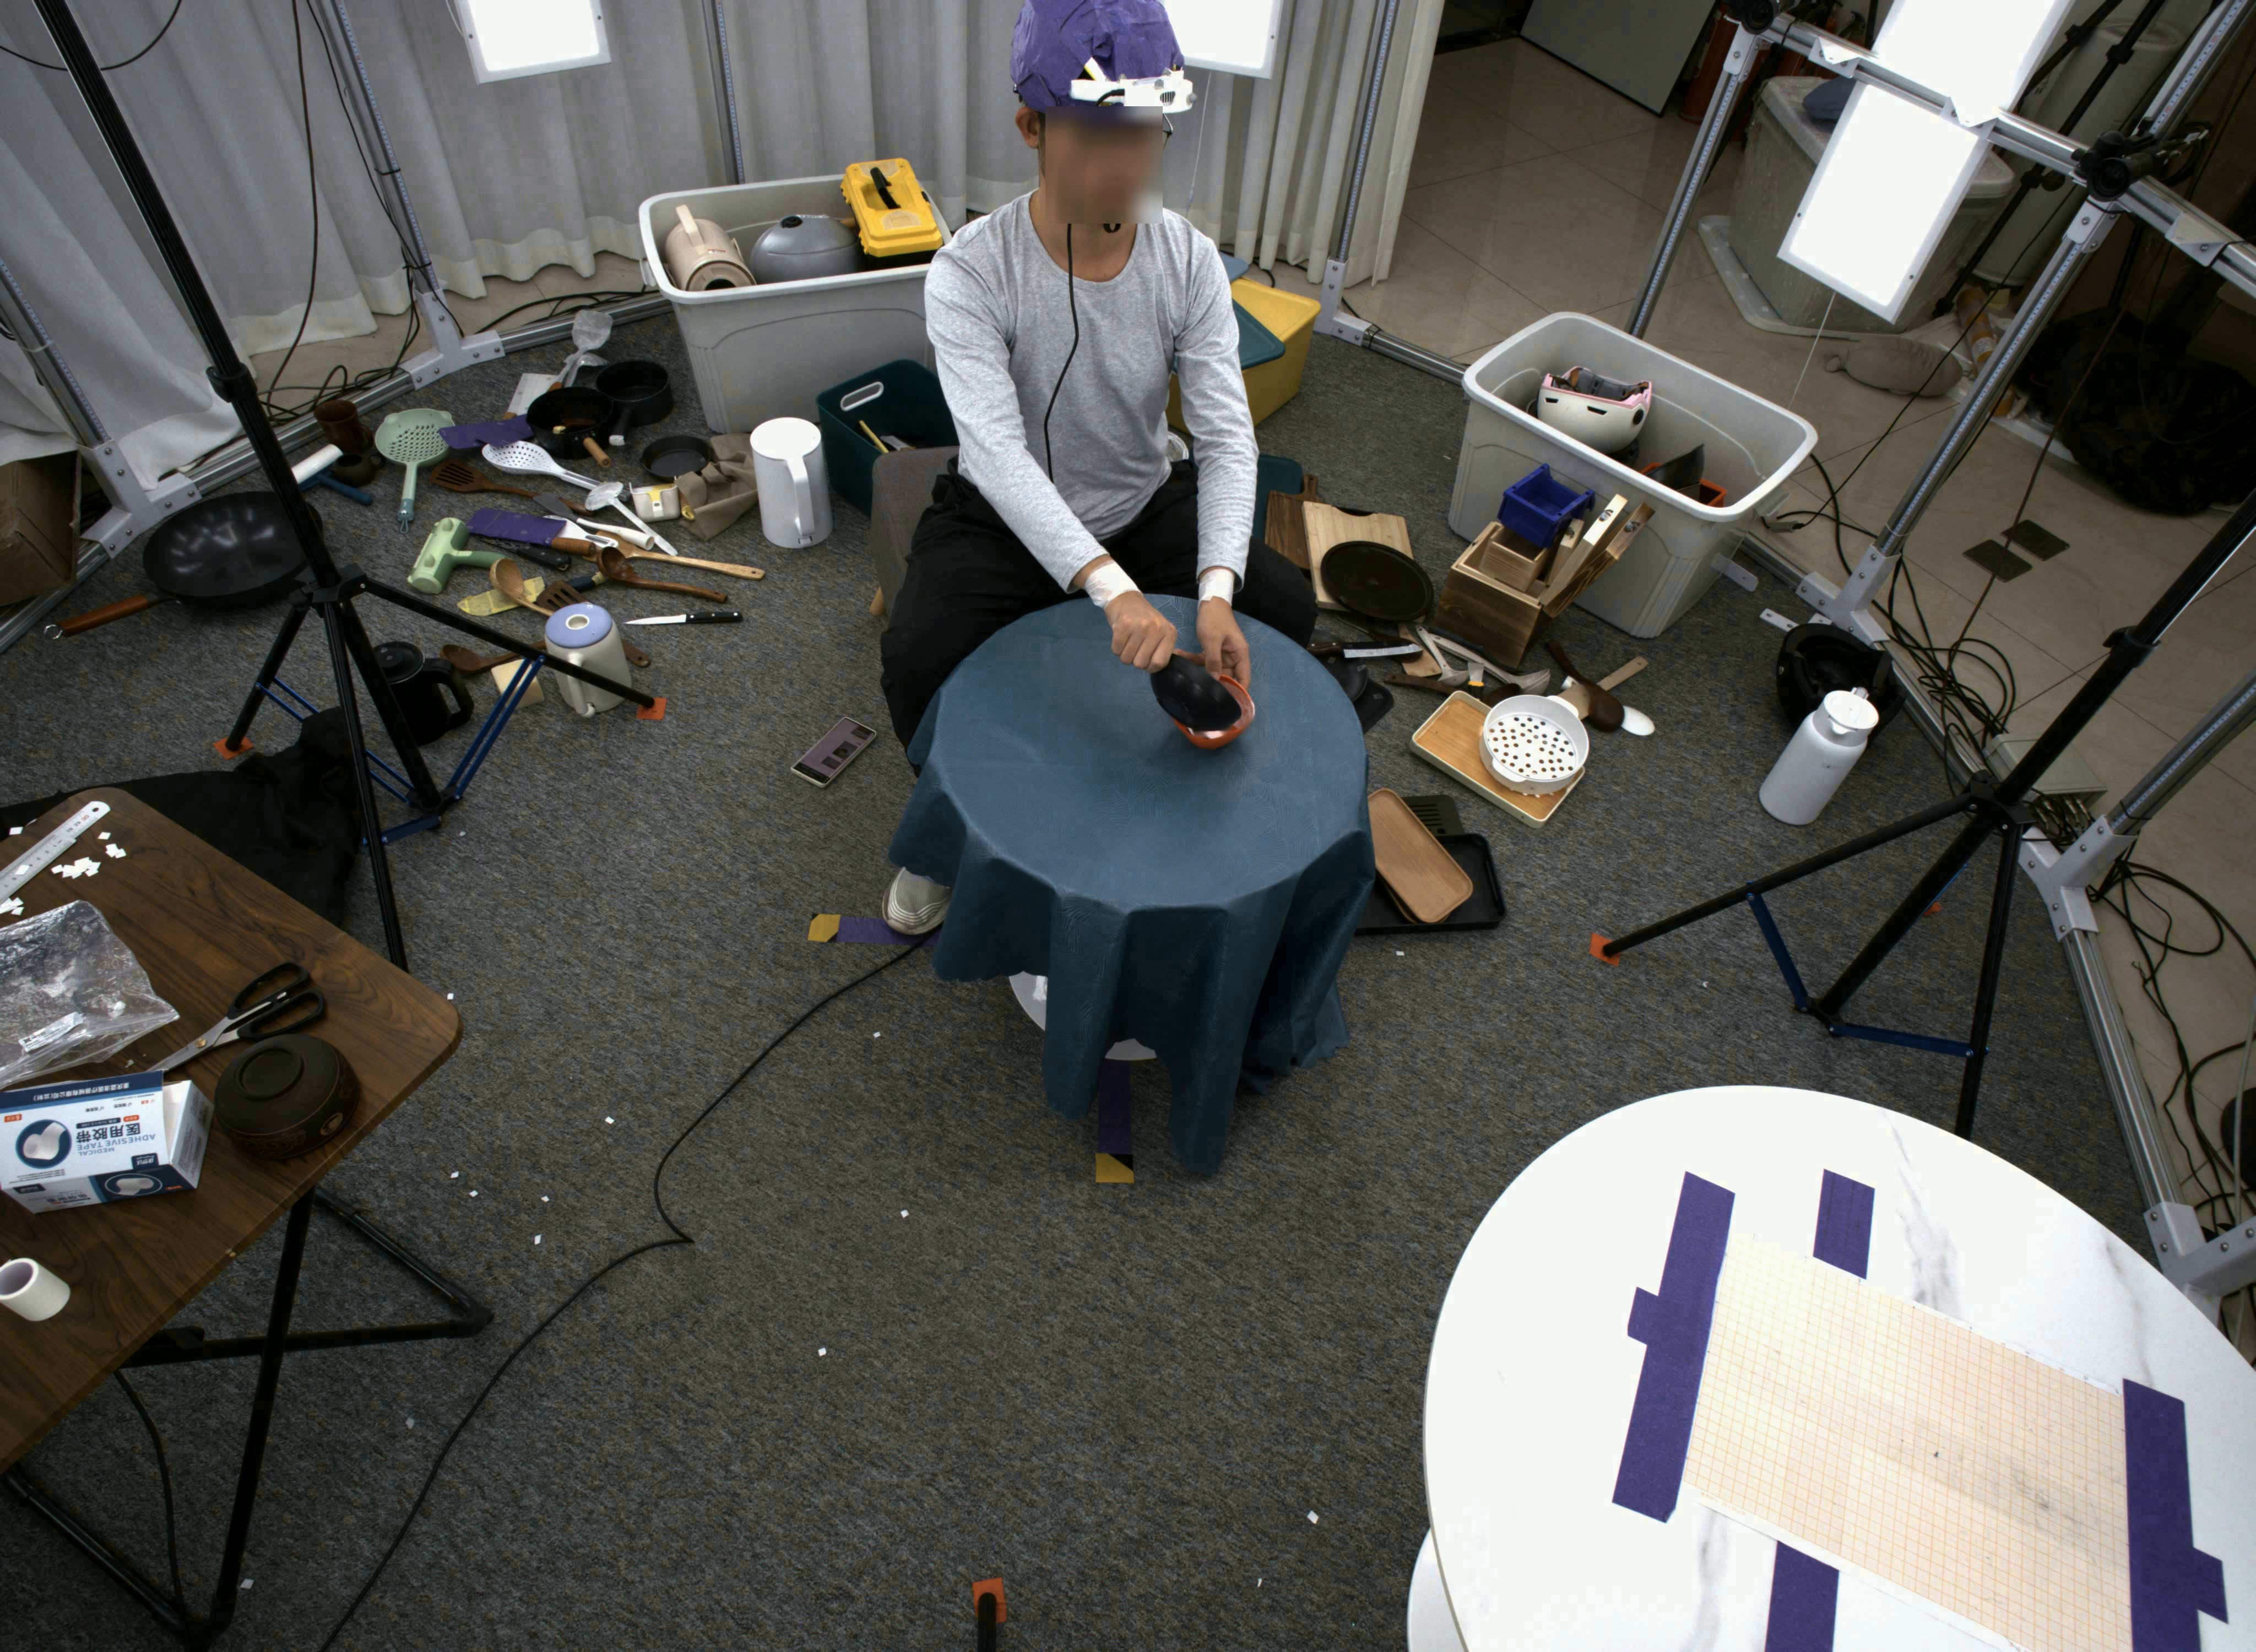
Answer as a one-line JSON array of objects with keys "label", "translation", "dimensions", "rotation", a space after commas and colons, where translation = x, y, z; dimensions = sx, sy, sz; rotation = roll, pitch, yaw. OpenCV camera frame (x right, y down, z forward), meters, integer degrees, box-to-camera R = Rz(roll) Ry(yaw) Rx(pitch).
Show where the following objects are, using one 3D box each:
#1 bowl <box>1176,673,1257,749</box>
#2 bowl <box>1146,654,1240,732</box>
[{"label": "bowl", "translation": [0.117, -0.152, 1.767], "dimensions": [0.119, 0.050, 0.122], "rotation": [-1, 55, 1]}, {"label": "bowl", "translation": [0.077, -0.165, 1.690], "dimensions": [0.141, 0.137, 0.050], "rotation": [30, 78, 19]}]
